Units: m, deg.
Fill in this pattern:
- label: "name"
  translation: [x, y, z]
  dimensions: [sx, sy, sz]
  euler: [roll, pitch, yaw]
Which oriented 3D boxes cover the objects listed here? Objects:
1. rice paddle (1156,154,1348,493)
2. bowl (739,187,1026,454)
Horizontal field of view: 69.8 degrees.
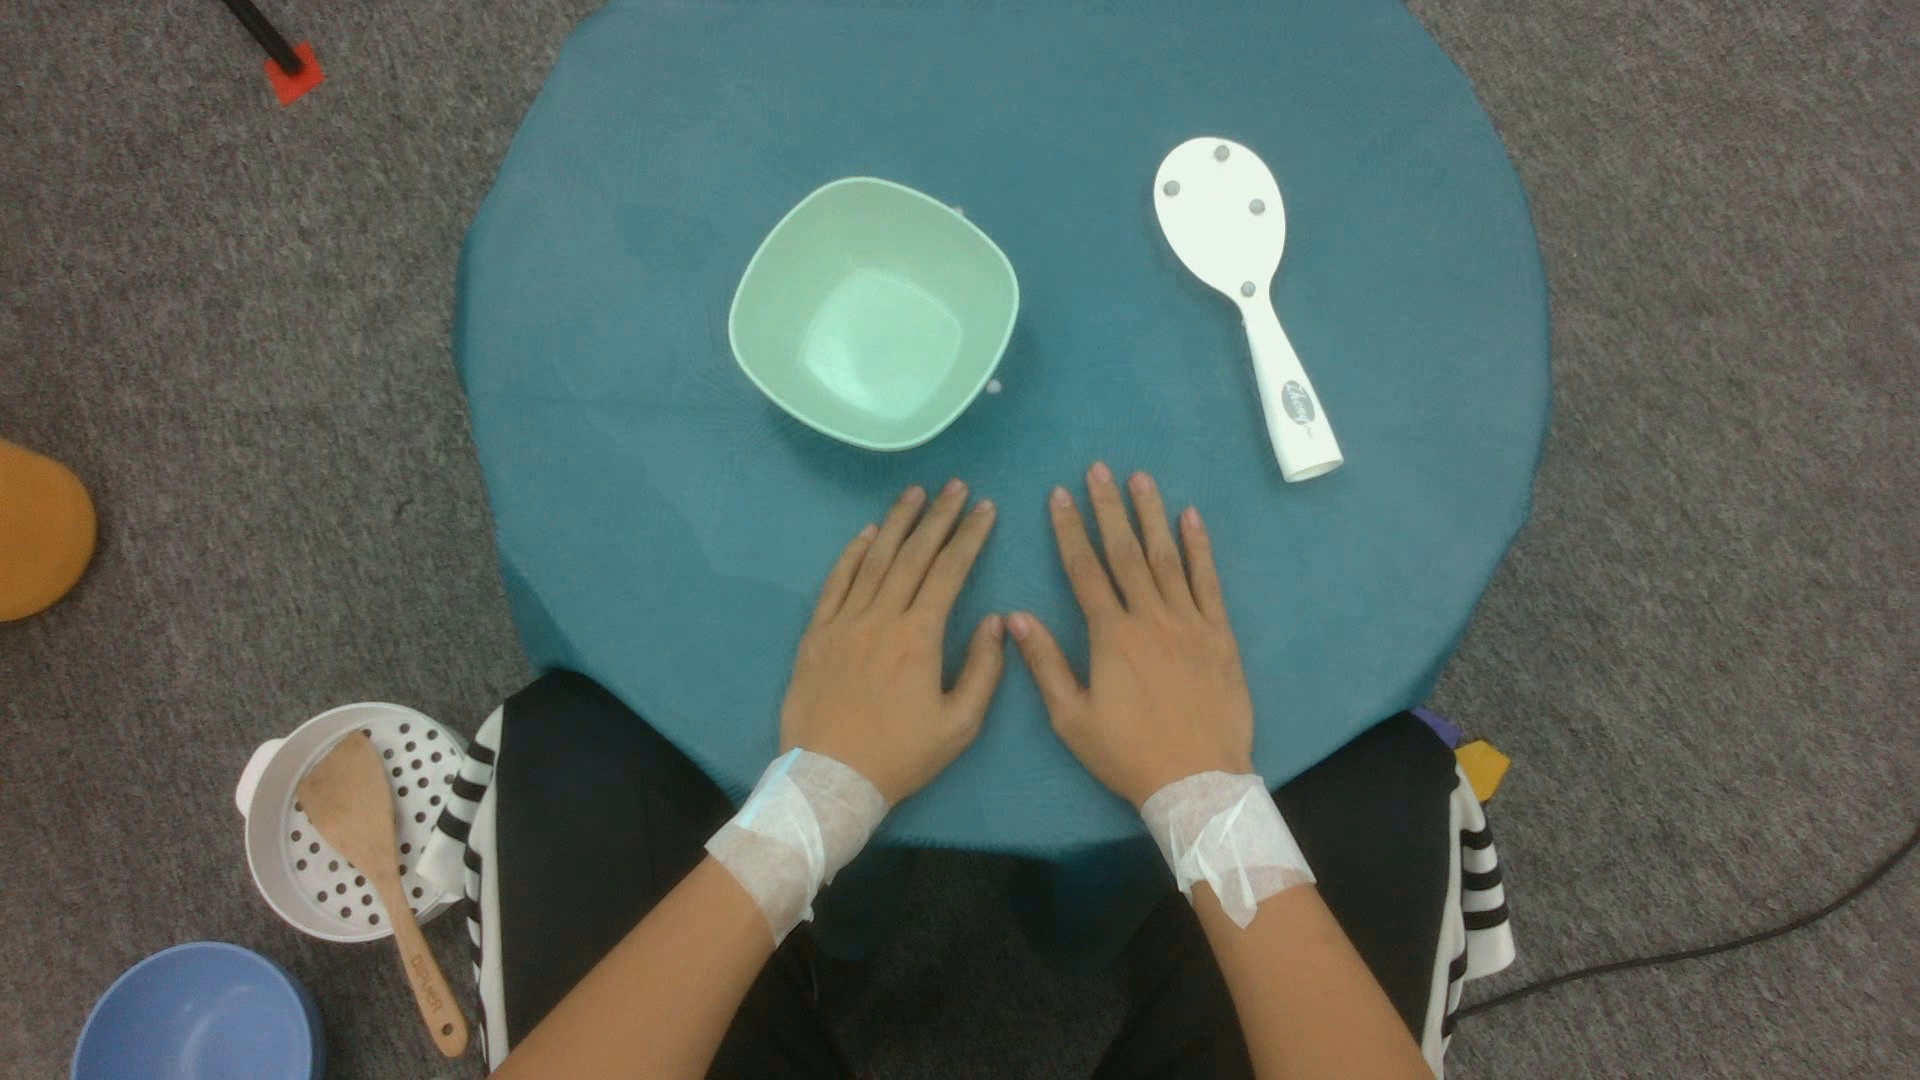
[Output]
- label: "rice paddle"
  translation: [0.163, -0.126, 0.760]
  dimensions: [0.069, 0.029, 0.205]
  euler: [-16, 76, -5]
- label: "bowl"
  translation: [-0.041, -0.110, 0.745]
  dimensions: [0.151, 0.058, 0.152]
  euler: [1, 74, -2]
